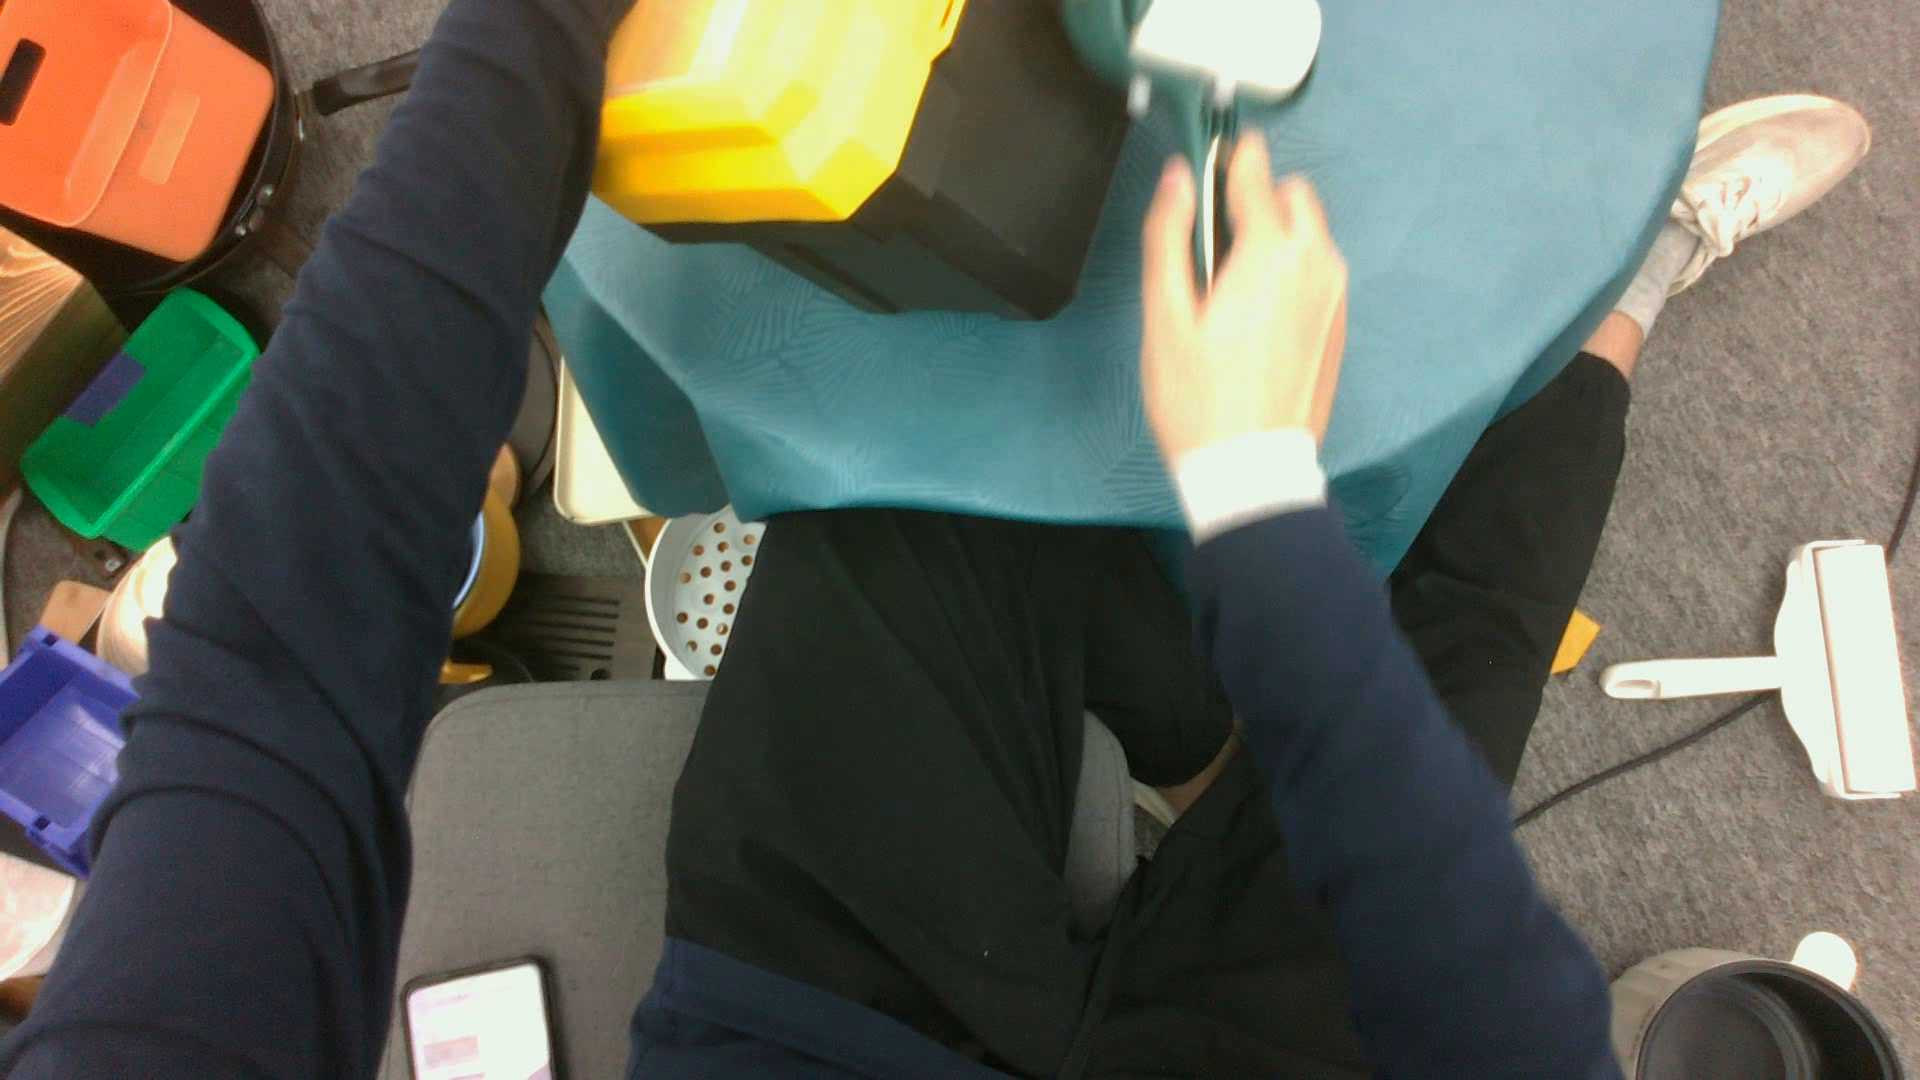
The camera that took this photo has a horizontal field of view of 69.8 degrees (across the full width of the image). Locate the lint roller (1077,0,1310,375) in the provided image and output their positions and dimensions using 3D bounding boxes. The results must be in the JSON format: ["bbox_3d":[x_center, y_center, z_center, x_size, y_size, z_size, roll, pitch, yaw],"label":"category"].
[{"bbox_3d":[0.104,-0.155,0.528,0.048,0.135,0.180,-23,75,44],"label":"lint roller"}]

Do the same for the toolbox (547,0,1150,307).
[{"bbox_3d":[-0.008,-0.274,0.554,0.181,0.173,0.352,11,79,43],"label":"toolbox"}]
